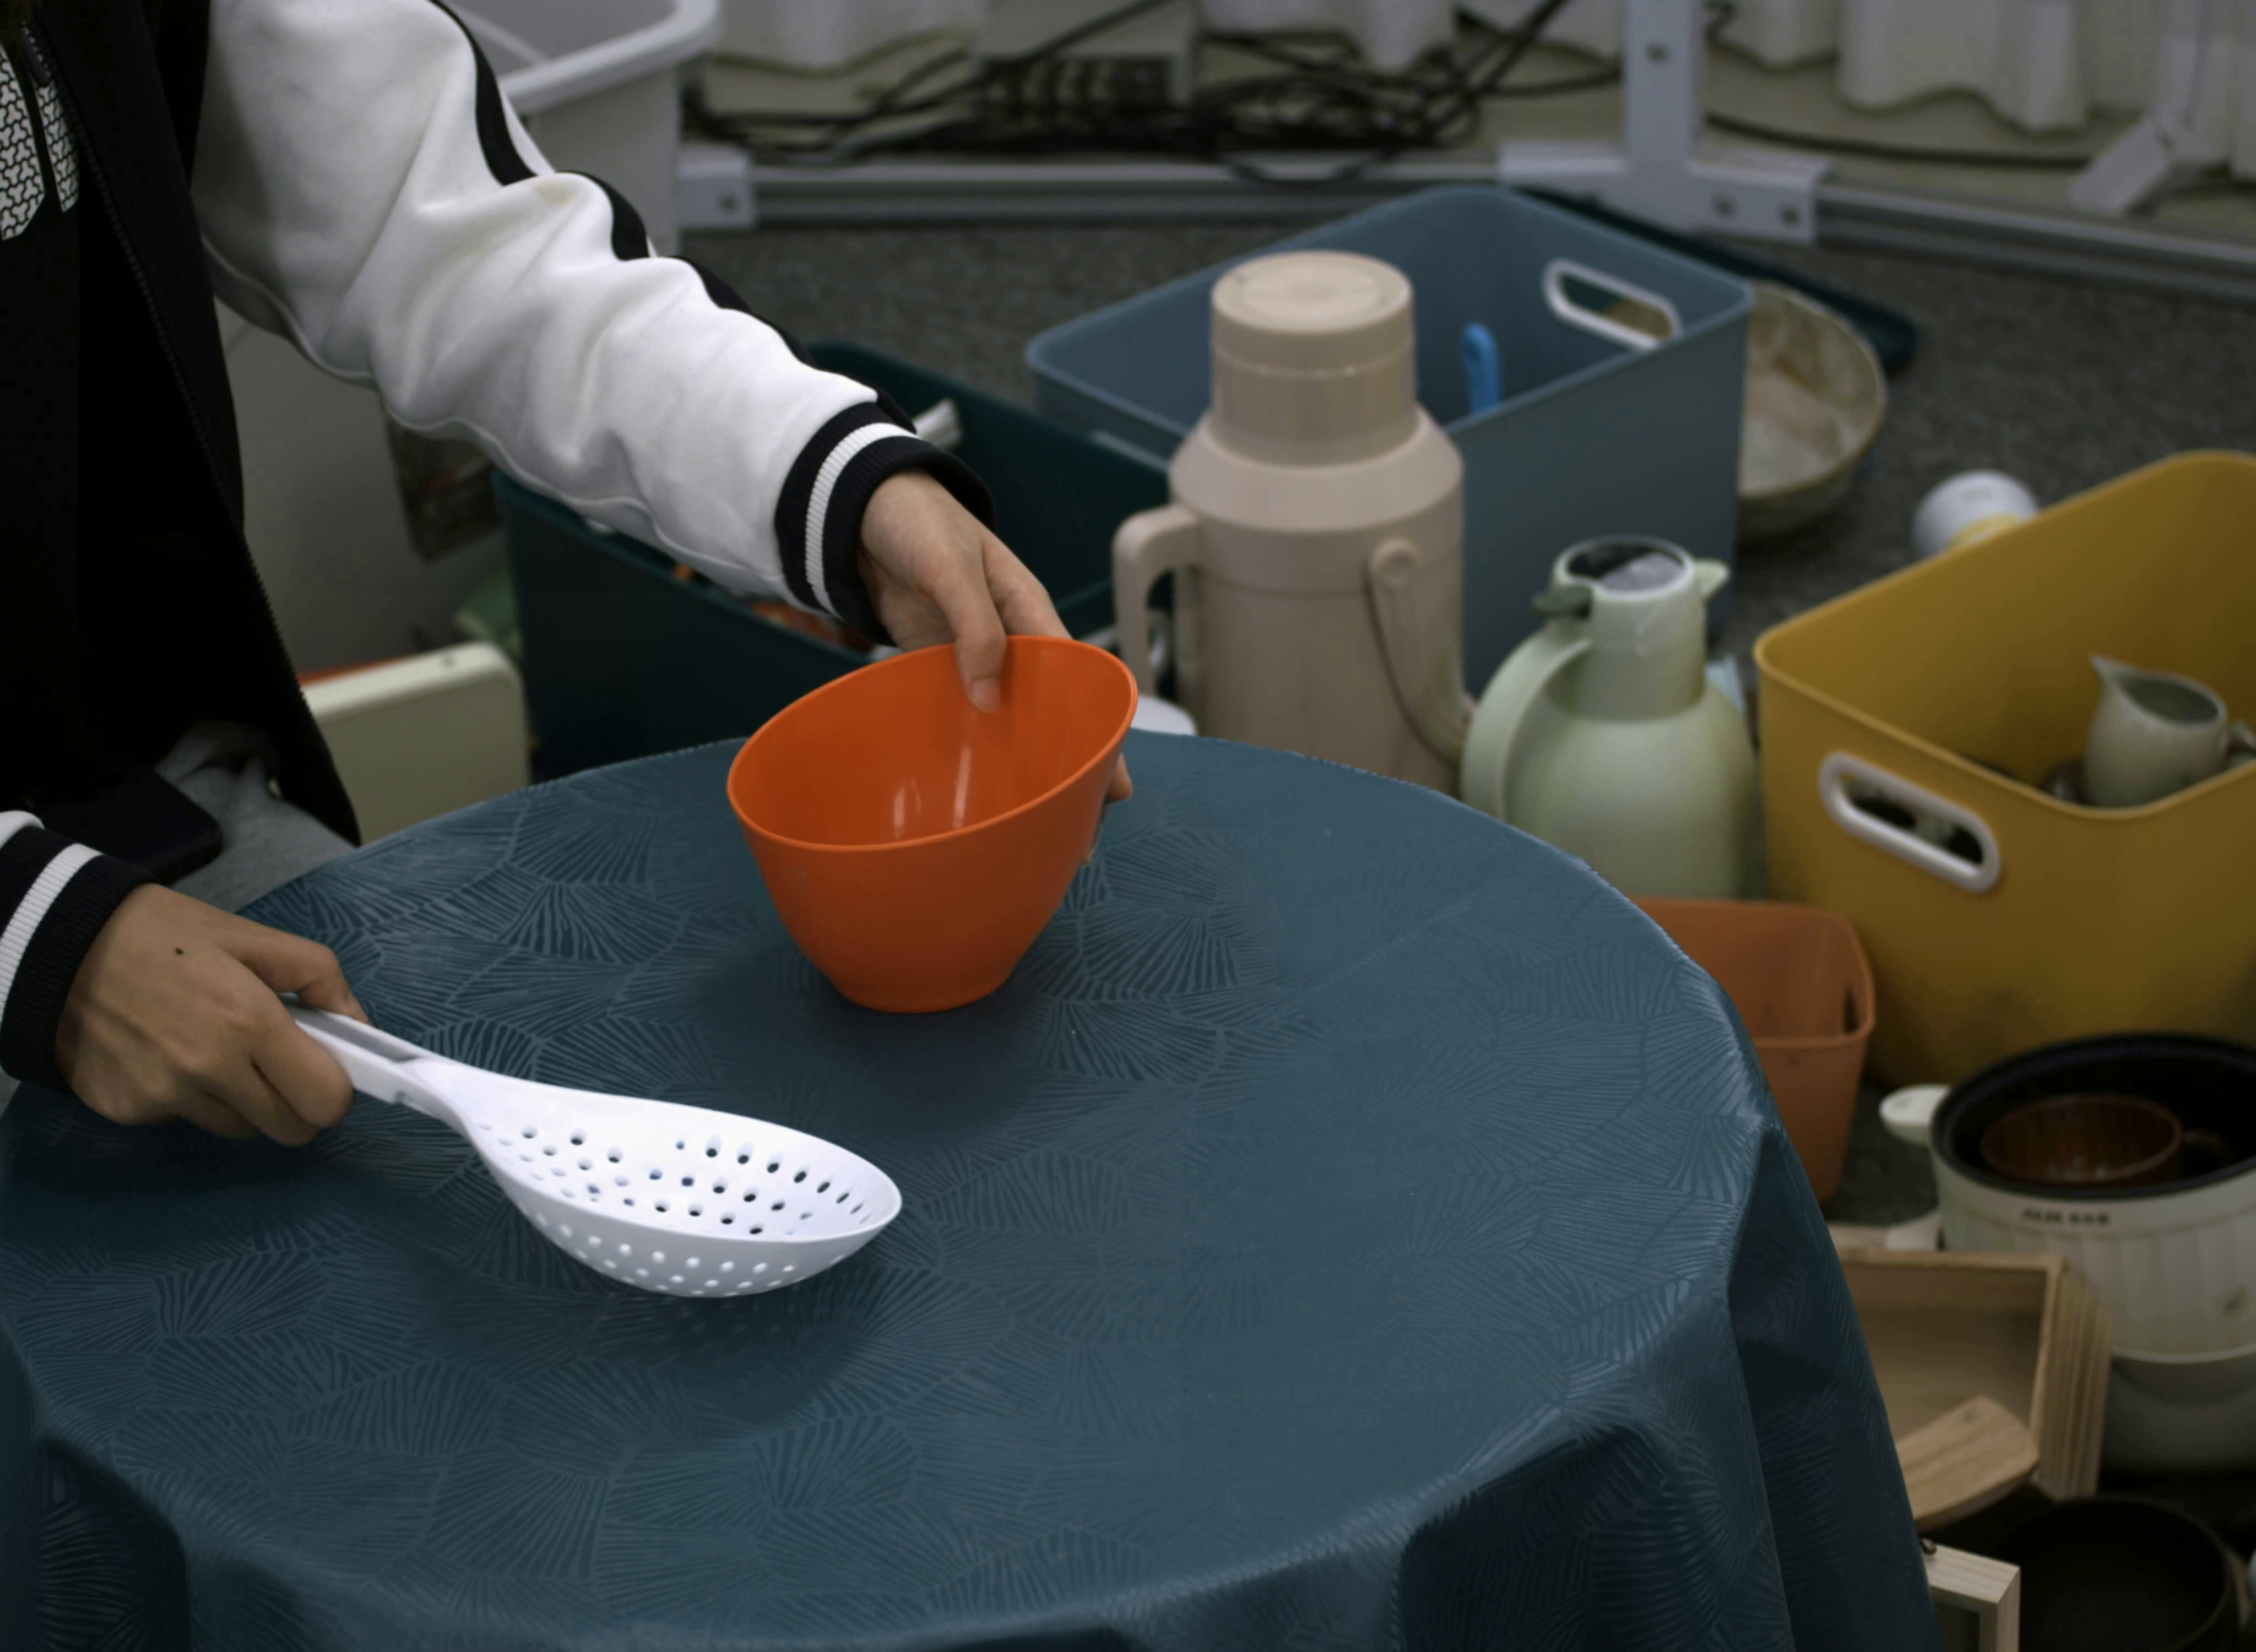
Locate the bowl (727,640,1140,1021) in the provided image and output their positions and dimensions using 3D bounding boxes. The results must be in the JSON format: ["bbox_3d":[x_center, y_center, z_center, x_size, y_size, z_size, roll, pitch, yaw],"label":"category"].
[{"bbox_3d":[-0.065,0.007,1.981,0.147,0.103,0.150,-4,28,2],"label":"bowl"}]

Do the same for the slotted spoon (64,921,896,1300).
[{"bbox_3d":[-0.228,0.089,1.867,0.349,0.045,0.137,24,18,32],"label":"slotted spoon"}]
